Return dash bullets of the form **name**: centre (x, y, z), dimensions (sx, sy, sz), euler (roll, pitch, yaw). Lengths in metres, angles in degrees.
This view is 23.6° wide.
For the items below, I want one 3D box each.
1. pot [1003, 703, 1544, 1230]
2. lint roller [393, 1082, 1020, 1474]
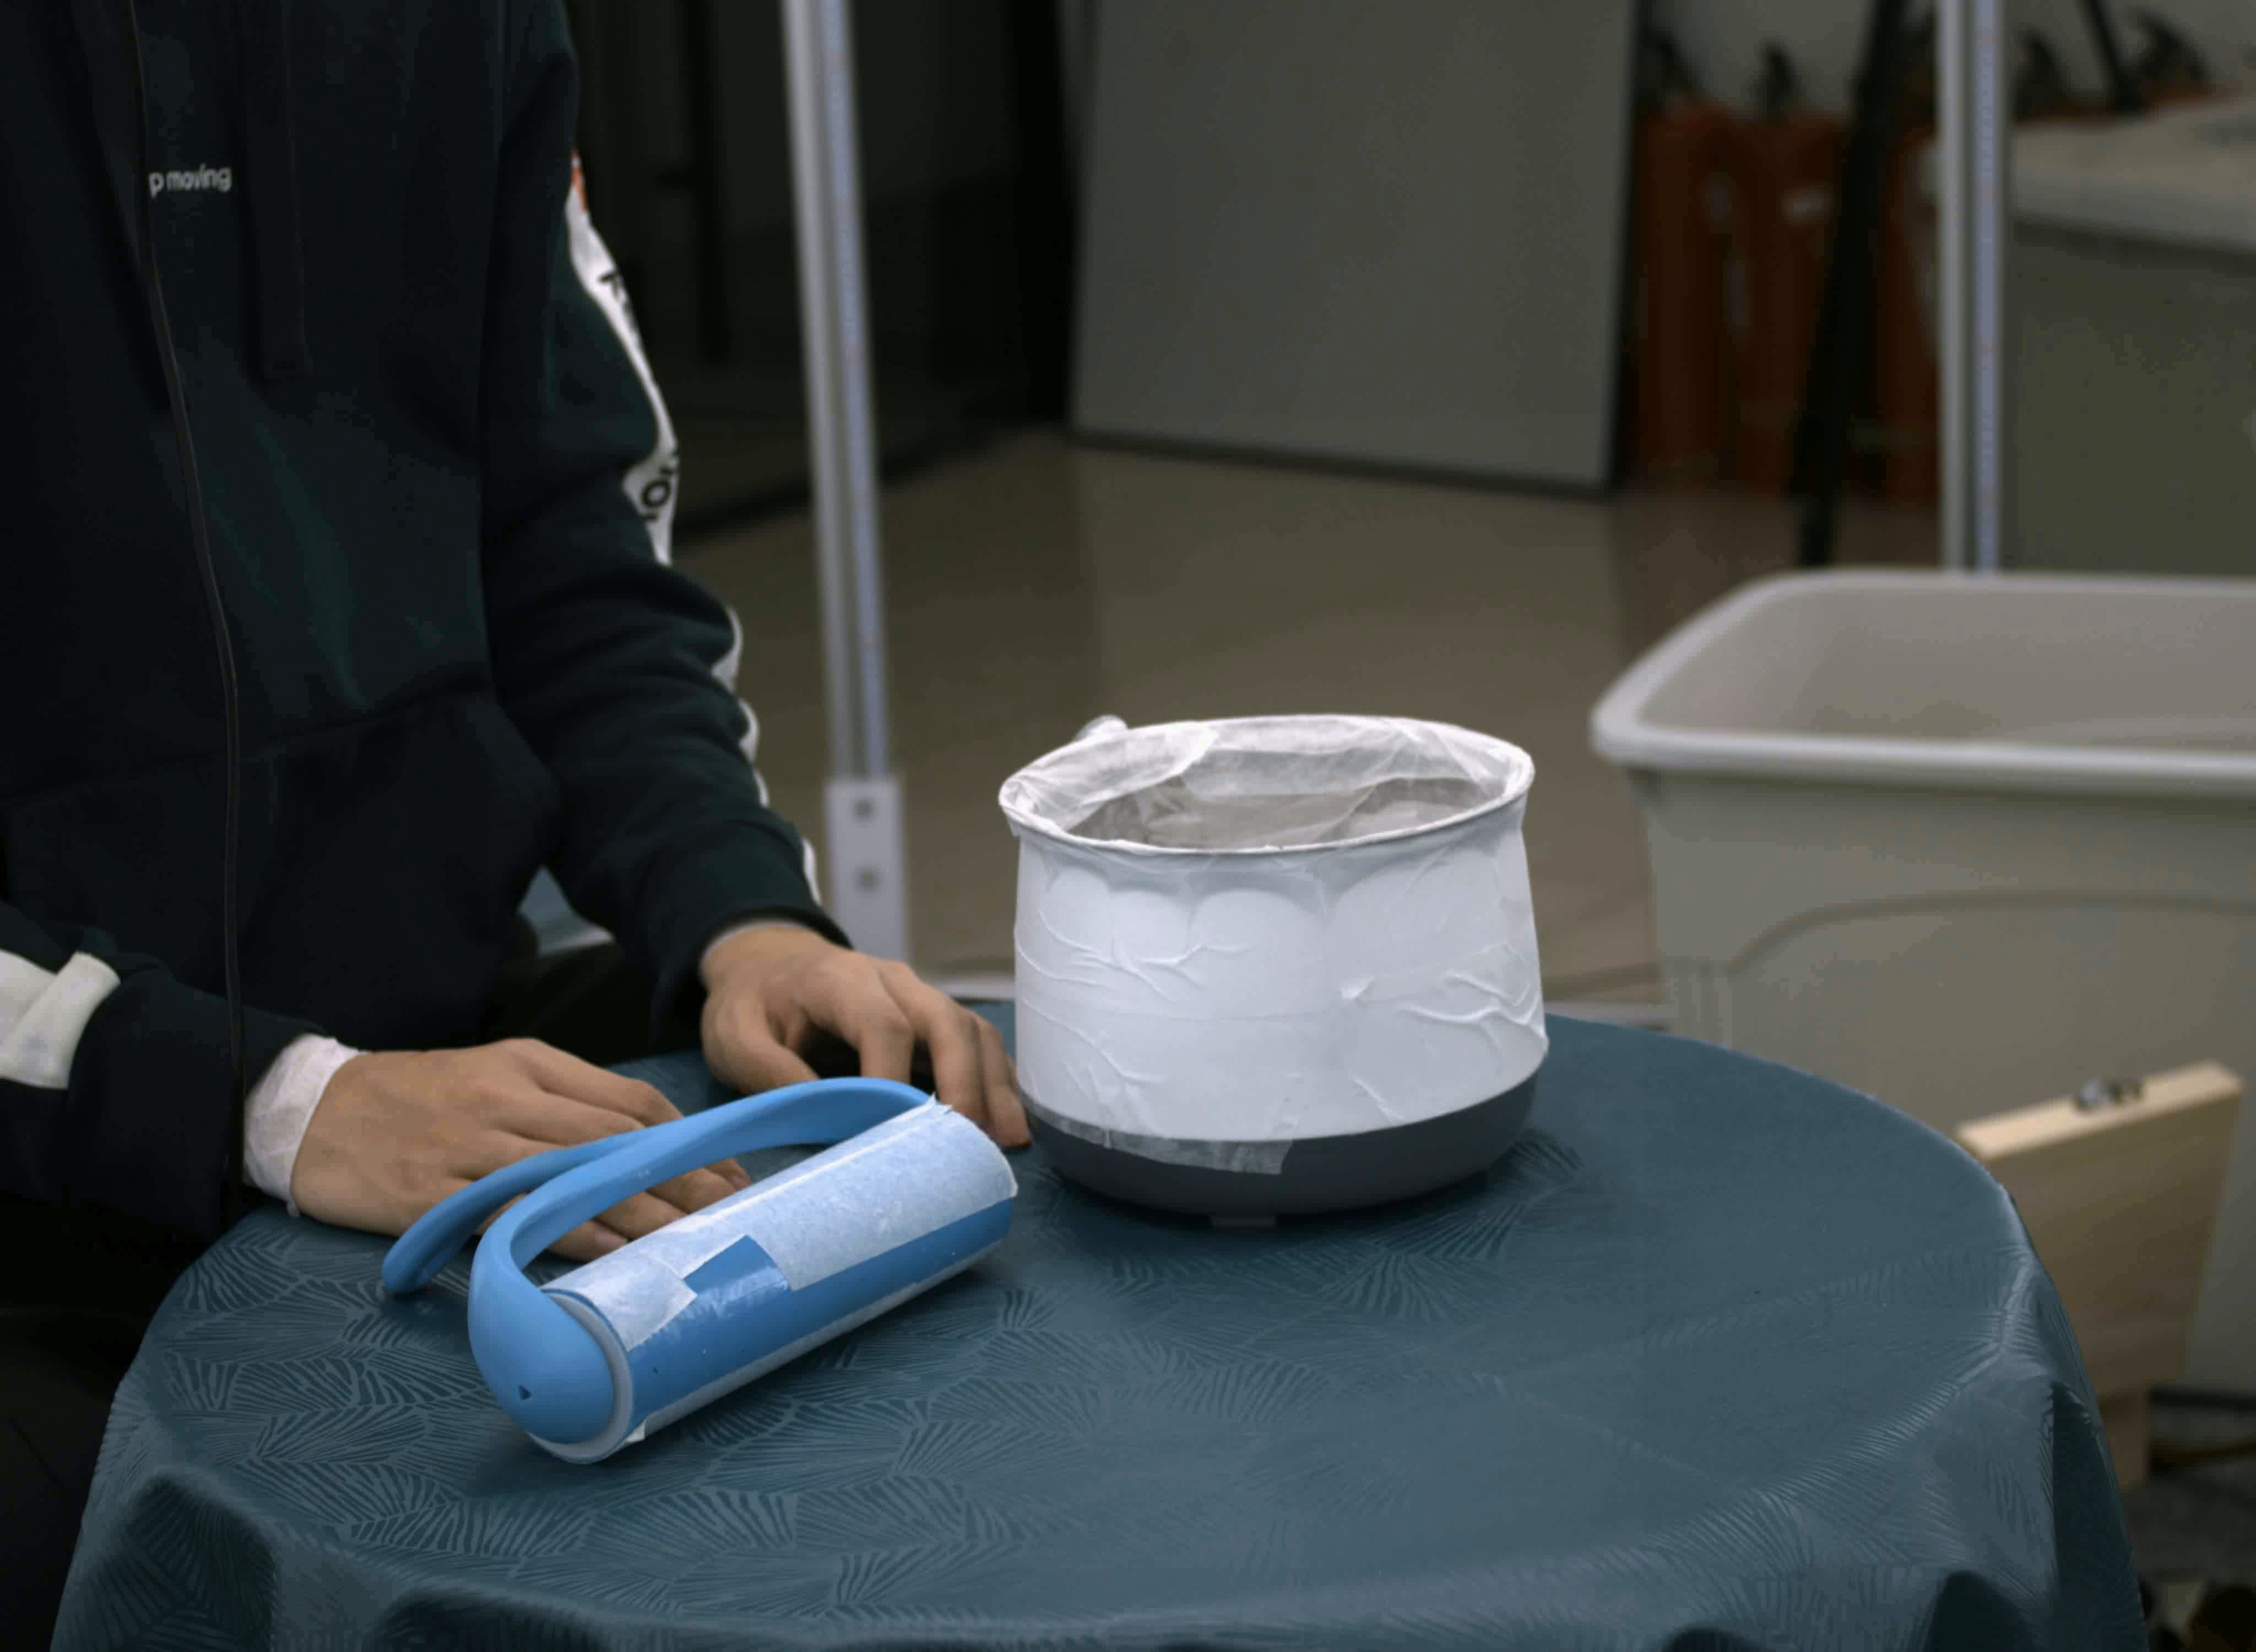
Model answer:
- **pot**: centre (0.034, 0.039, 1.797), dimensions (0.175, 0.138, 0.236), euler (-12, 17, -30)
- **lint roller**: centre (-0.156, 0.131, 1.659), dimensions (0.181, 0.068, 0.225), euler (5, 18, 30)
